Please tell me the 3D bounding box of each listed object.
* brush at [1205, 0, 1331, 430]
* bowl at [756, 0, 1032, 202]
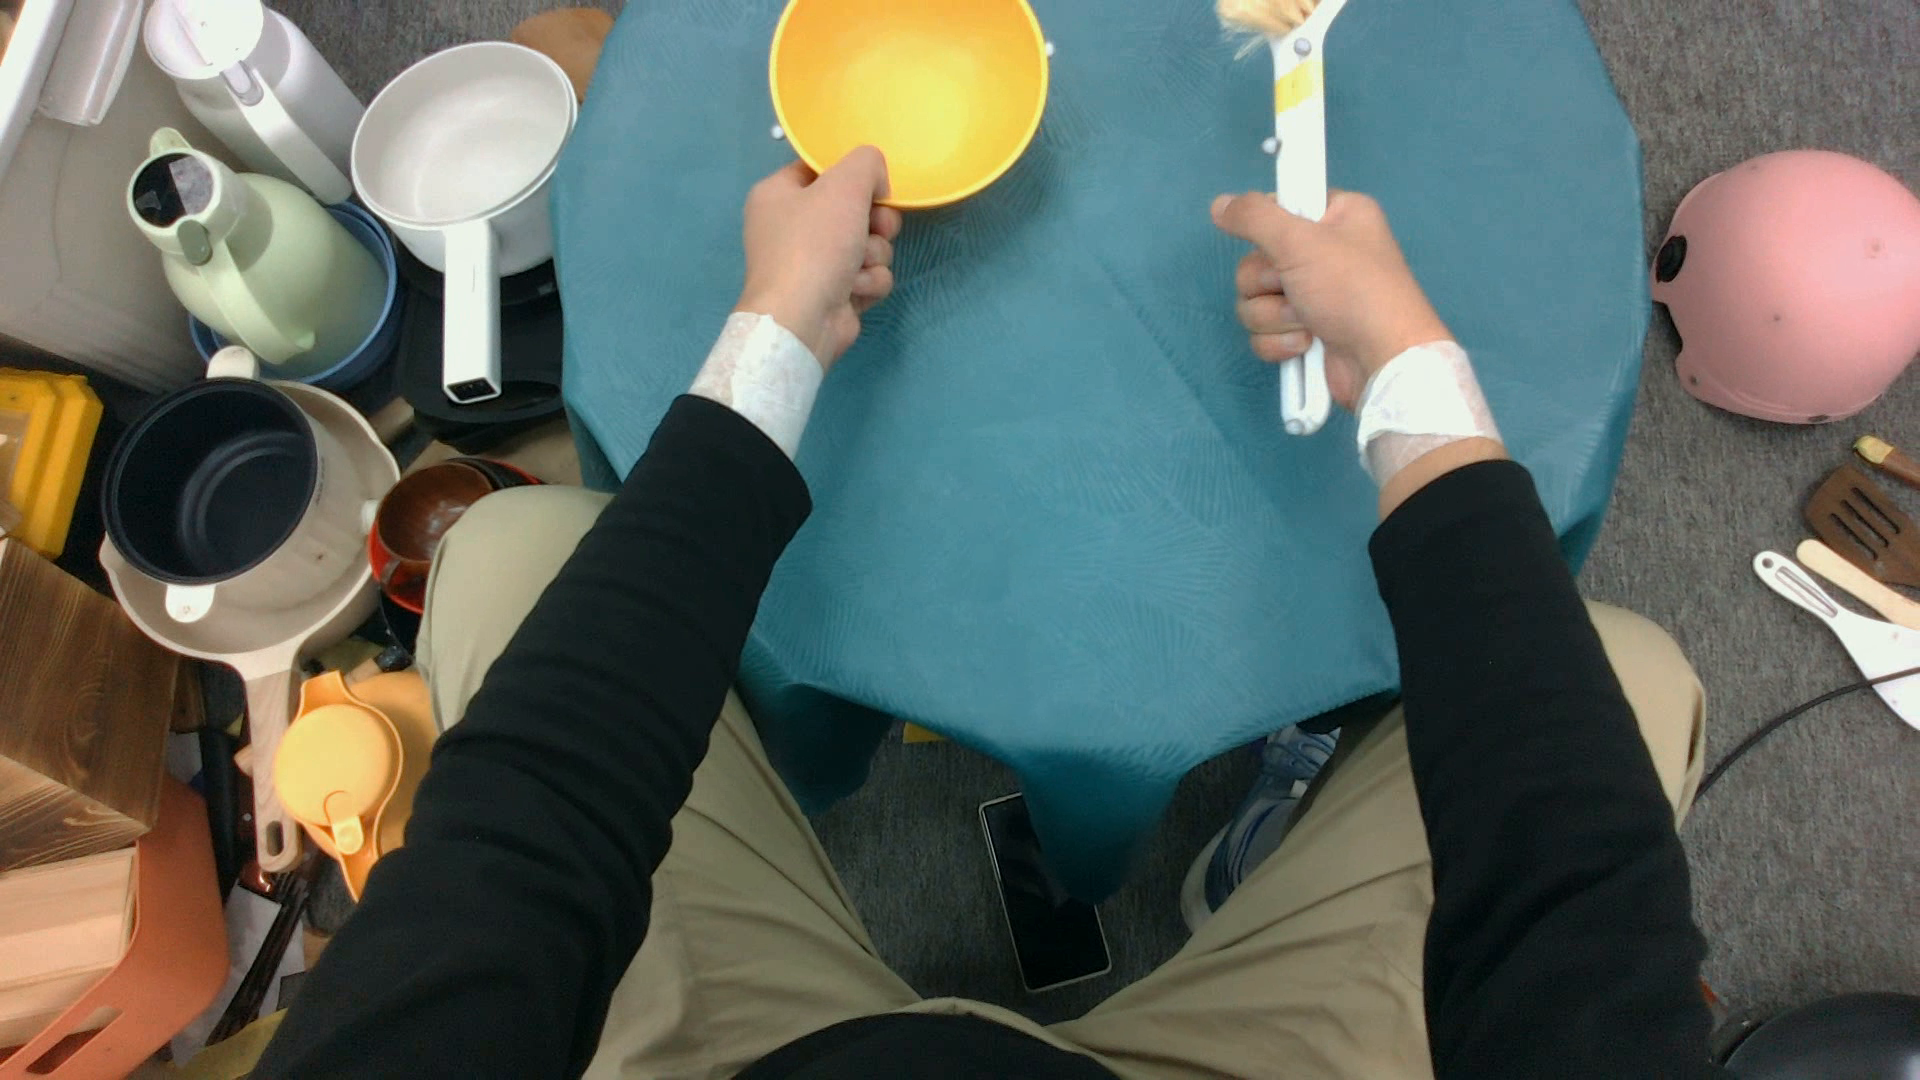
[{"bbox_3d":[0.153,-0.188,0.677,0.056,0.068,0.267,10,79,-26],"label":"brush"},{"bbox_3d":[-0.035,-0.244,0.748,0.145,0.060,0.145,0,83,-1],"label":"bowl"}]
